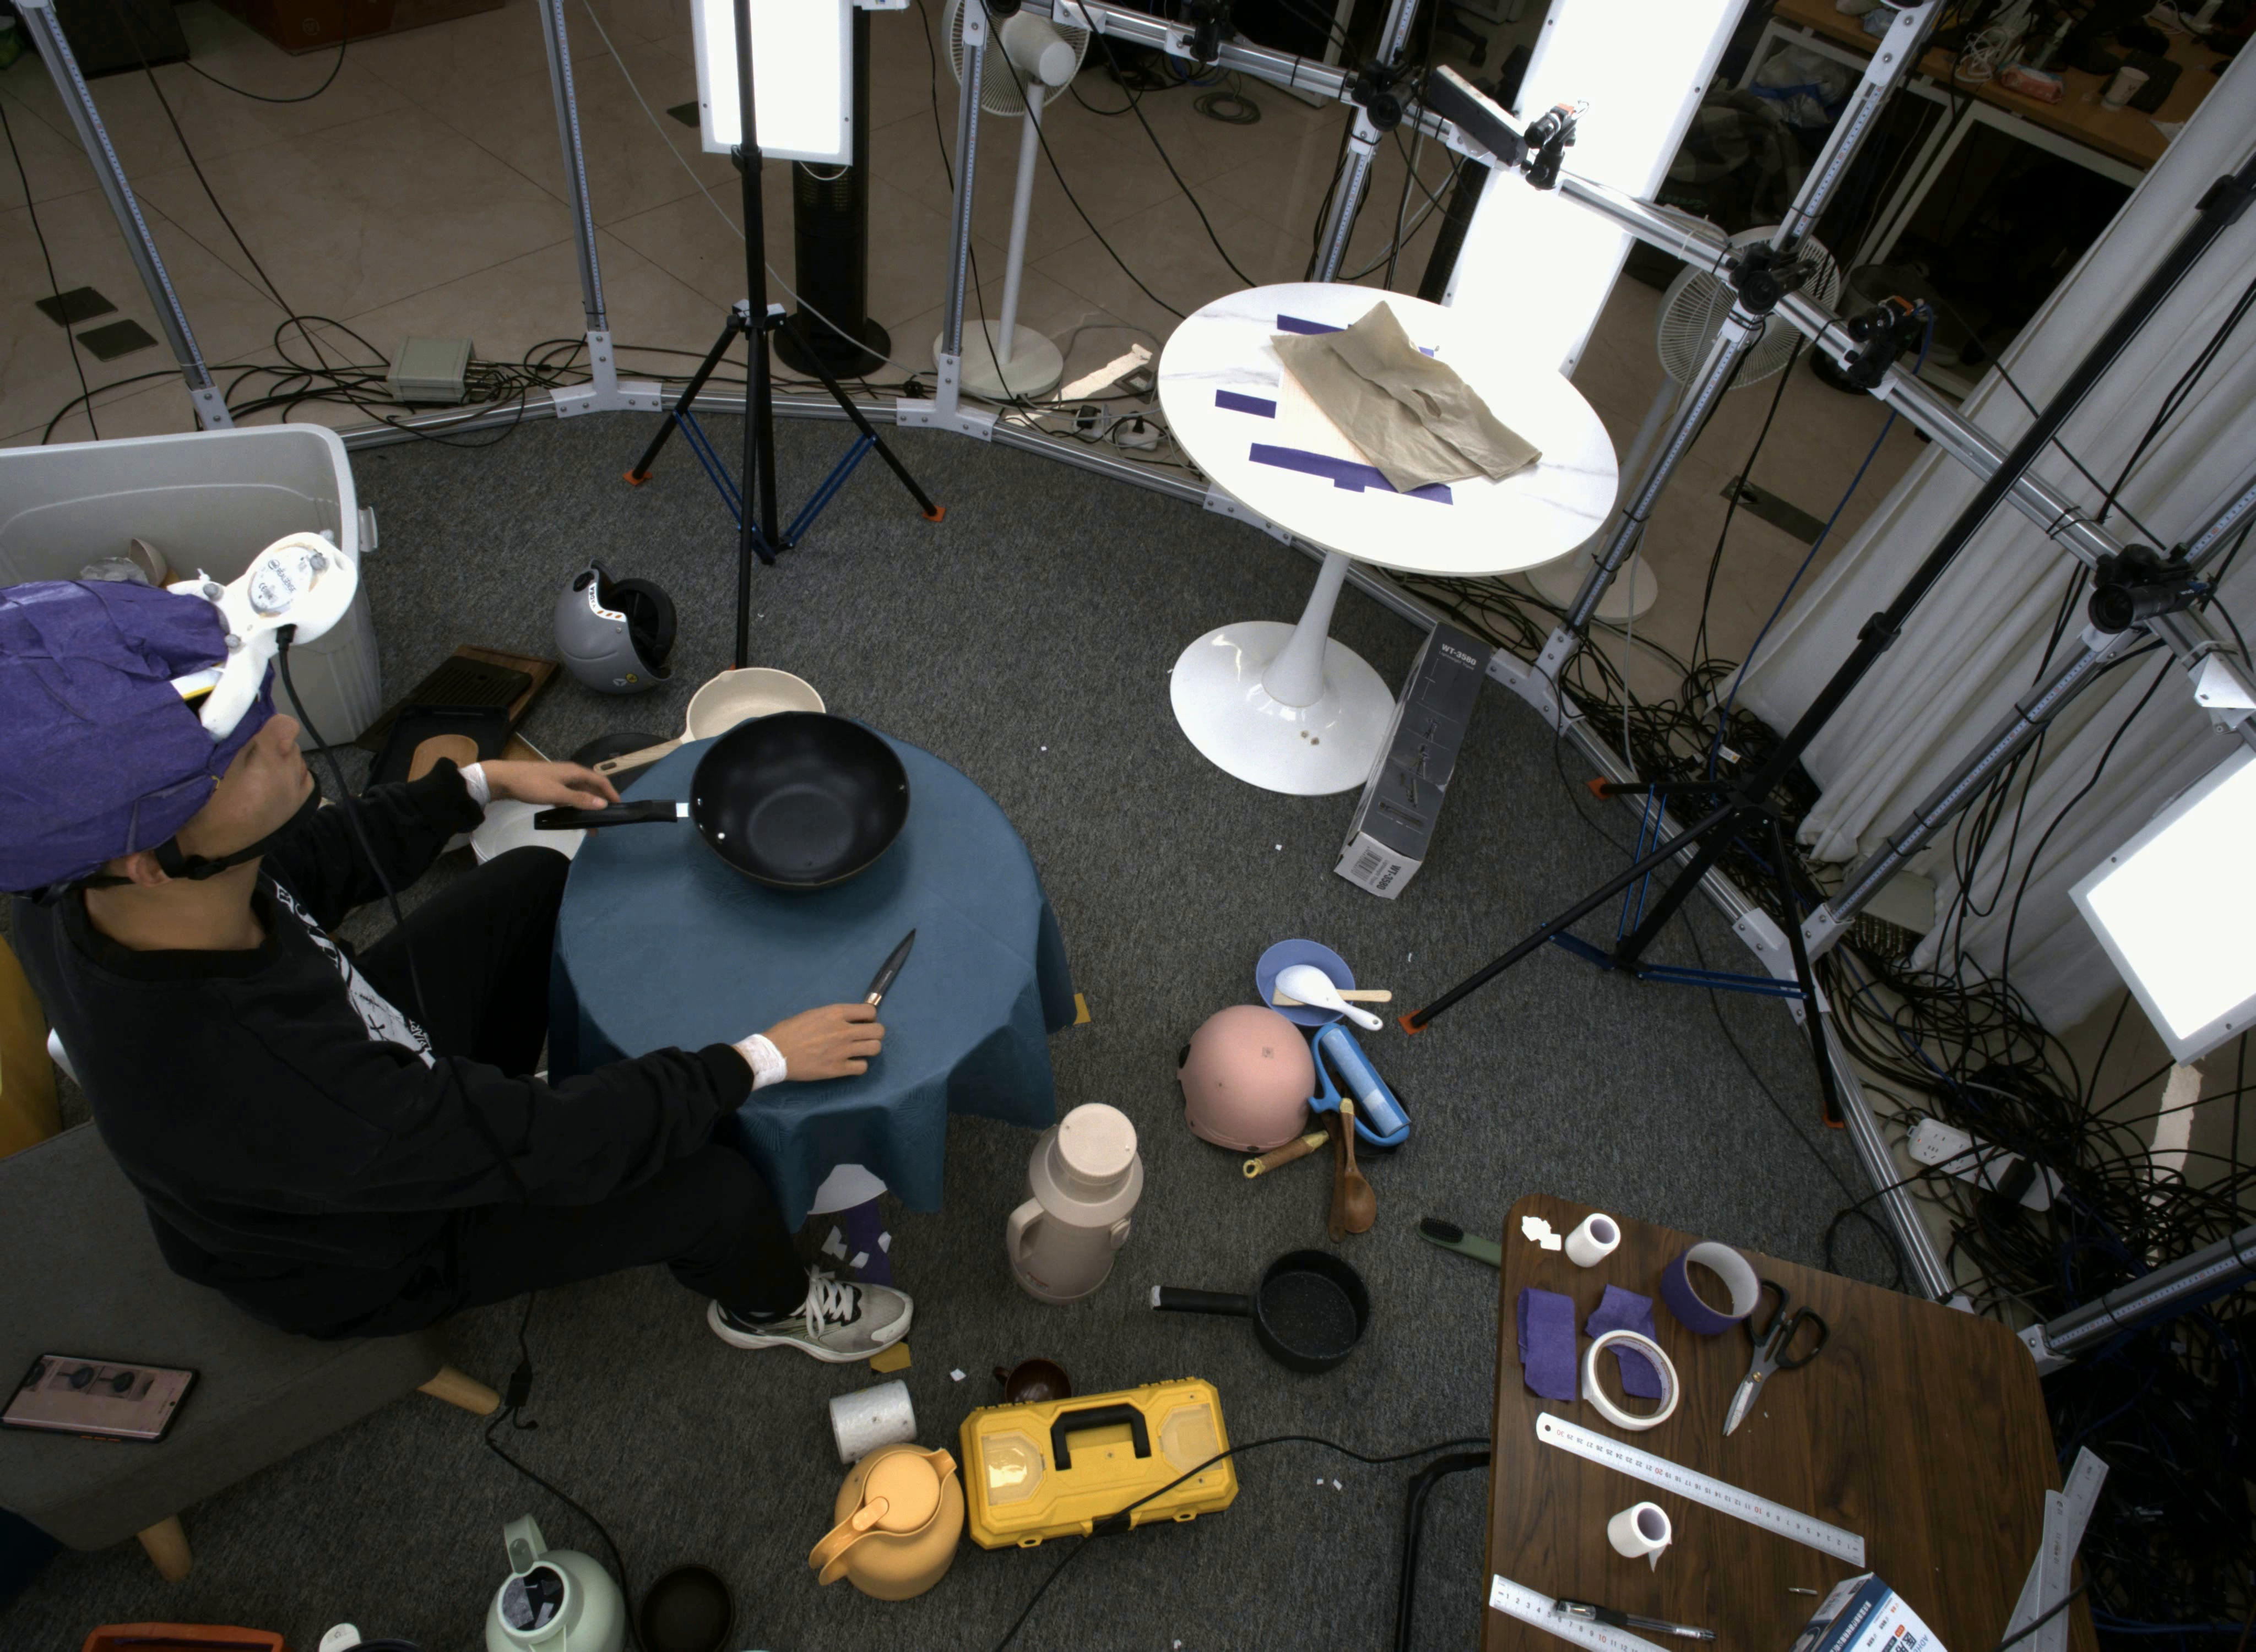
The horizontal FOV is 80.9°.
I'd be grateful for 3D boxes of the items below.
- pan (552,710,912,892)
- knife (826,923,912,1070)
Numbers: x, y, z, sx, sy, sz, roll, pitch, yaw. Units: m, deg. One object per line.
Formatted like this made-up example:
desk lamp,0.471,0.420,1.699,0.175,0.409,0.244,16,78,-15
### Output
pan,-0.507,-0.010,1.655,0.465,0.088,0.281,-7,56,-18
knife,-0.312,0.202,1.594,0.025,0.018,0.223,14,49,15
